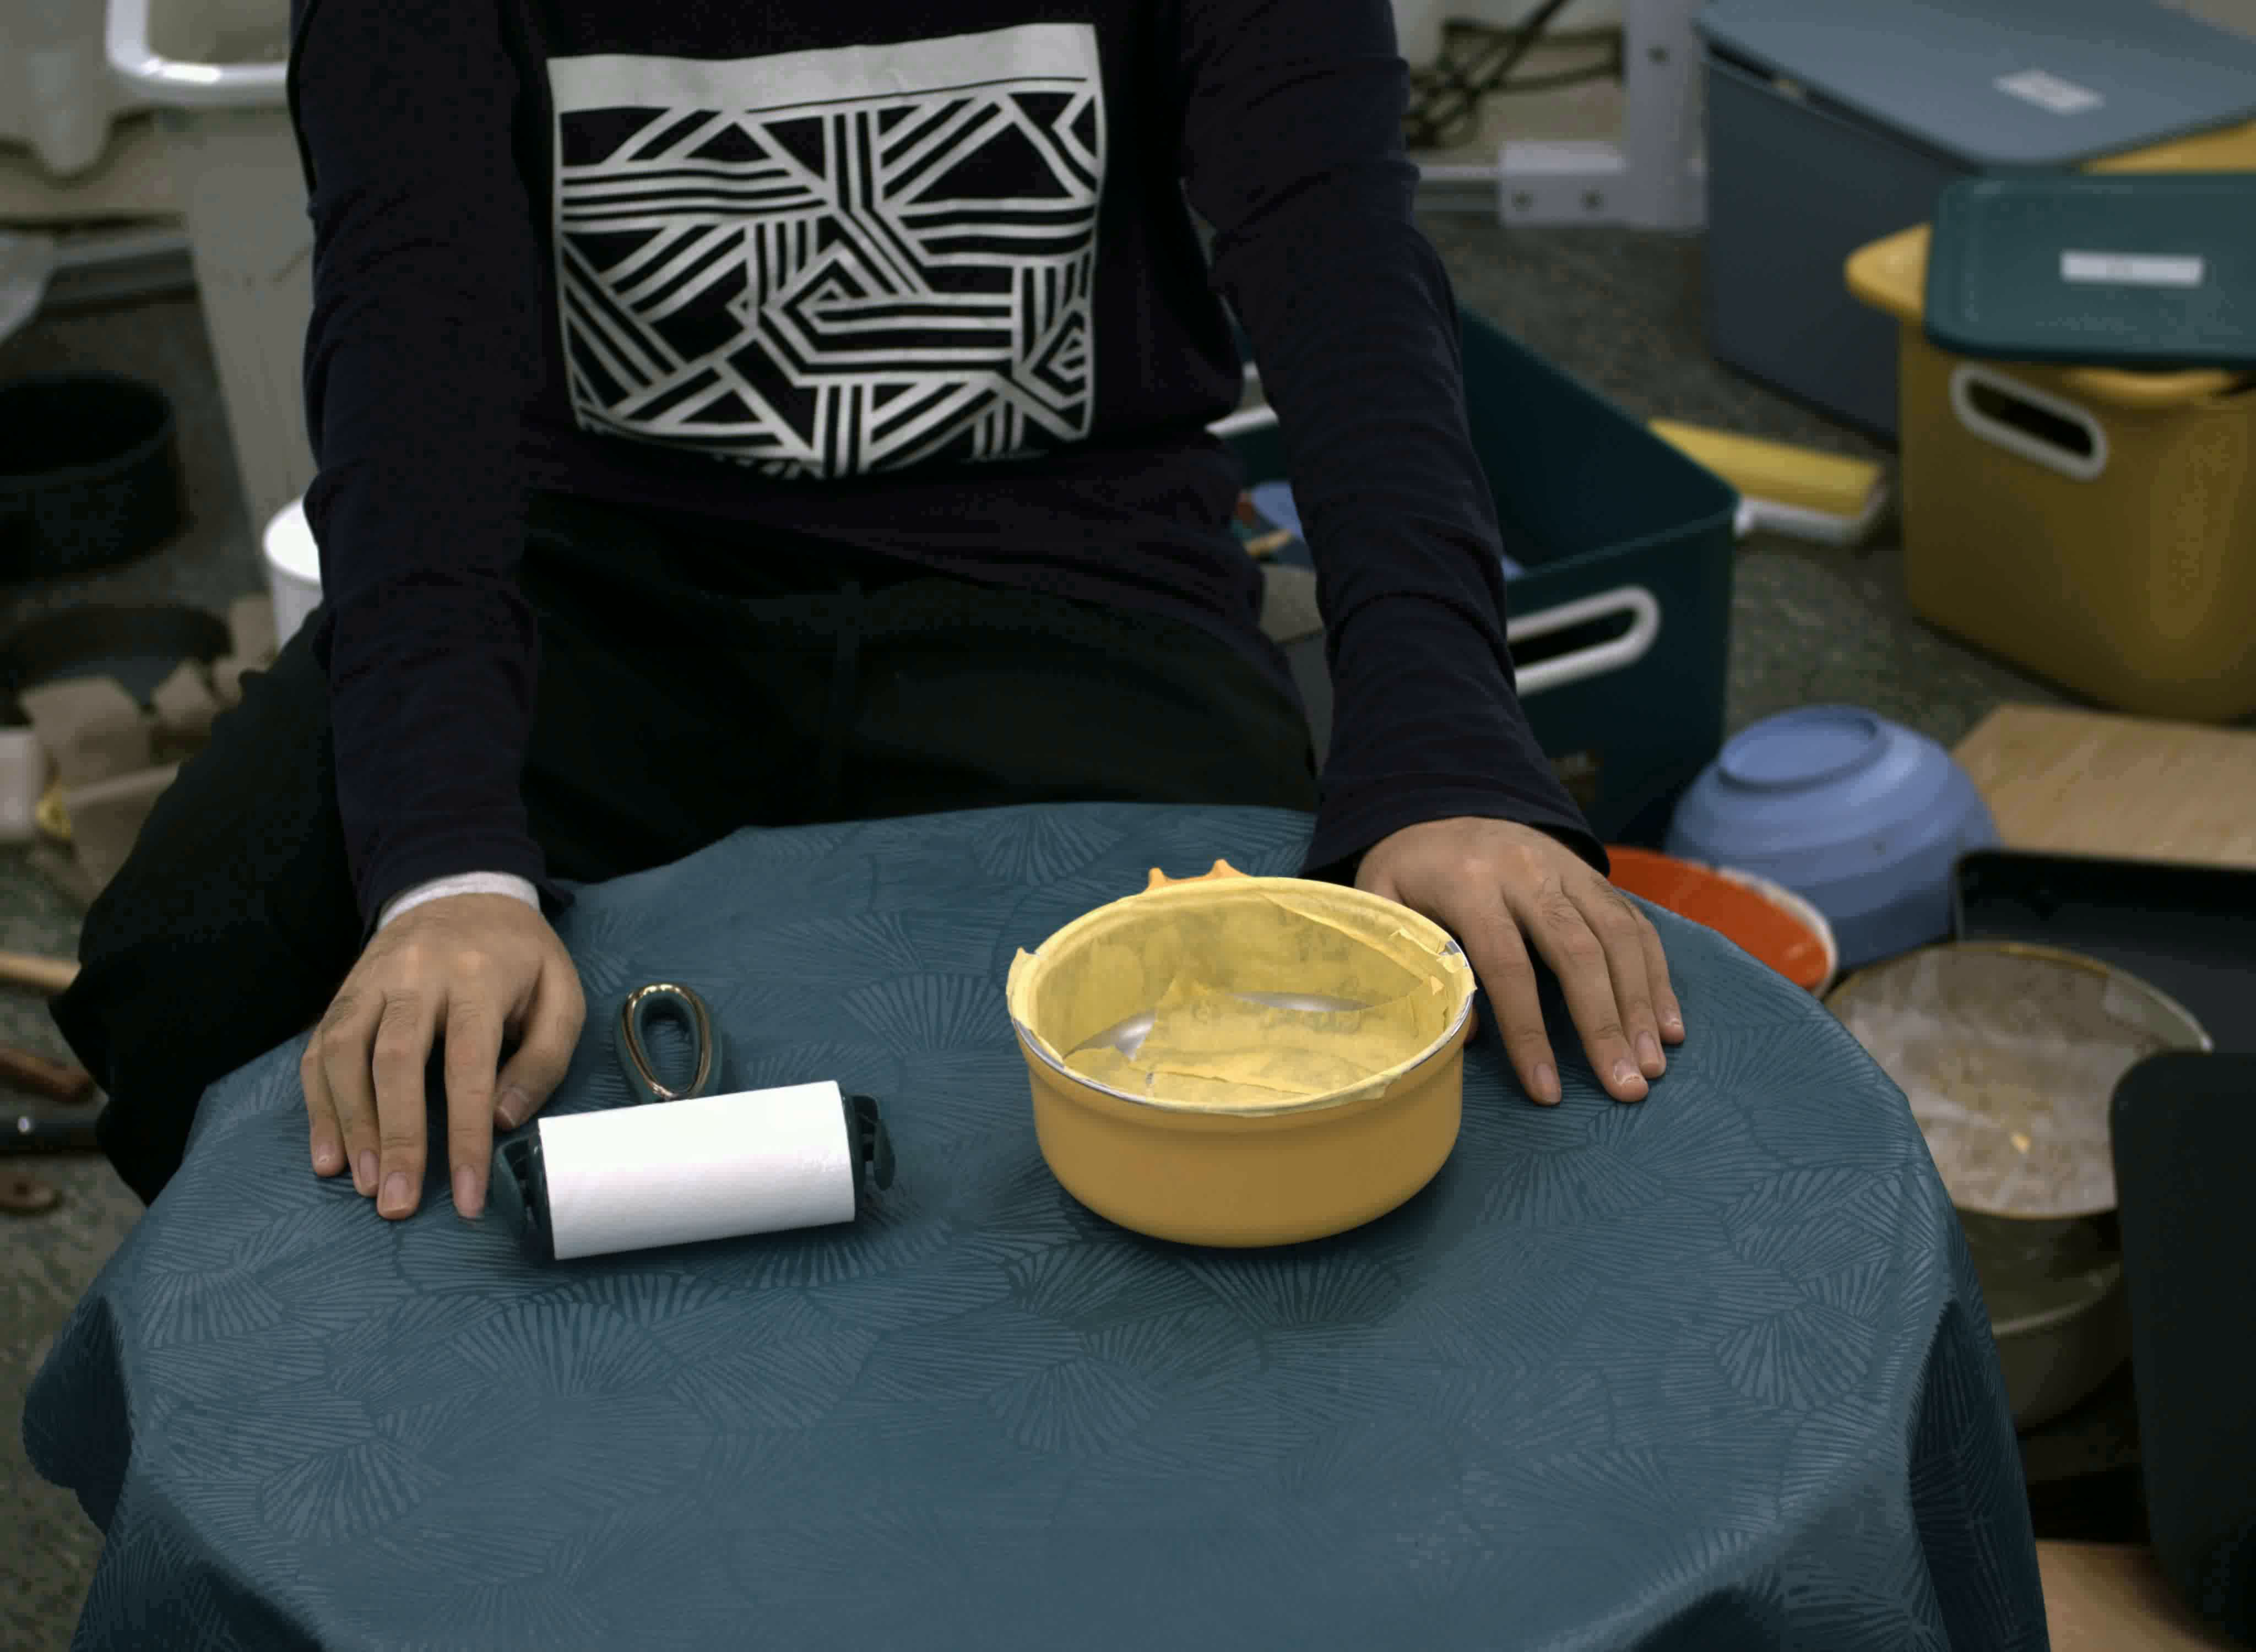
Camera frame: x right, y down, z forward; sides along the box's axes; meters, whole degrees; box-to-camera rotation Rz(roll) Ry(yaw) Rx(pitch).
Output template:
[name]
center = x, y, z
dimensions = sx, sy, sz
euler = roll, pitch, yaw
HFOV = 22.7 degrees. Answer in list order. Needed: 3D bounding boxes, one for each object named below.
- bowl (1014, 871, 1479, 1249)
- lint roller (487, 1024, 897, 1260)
[bowl]
center = 0.038, 0.077, 1.875
dimensions = 0.153, 0.073, 0.181
euler = -11, 28, -13
[lint roller]
center = -0.154, 0.087, 1.901
dimensions = 0.134, 0.048, 0.182
euler = -7, 23, -8
